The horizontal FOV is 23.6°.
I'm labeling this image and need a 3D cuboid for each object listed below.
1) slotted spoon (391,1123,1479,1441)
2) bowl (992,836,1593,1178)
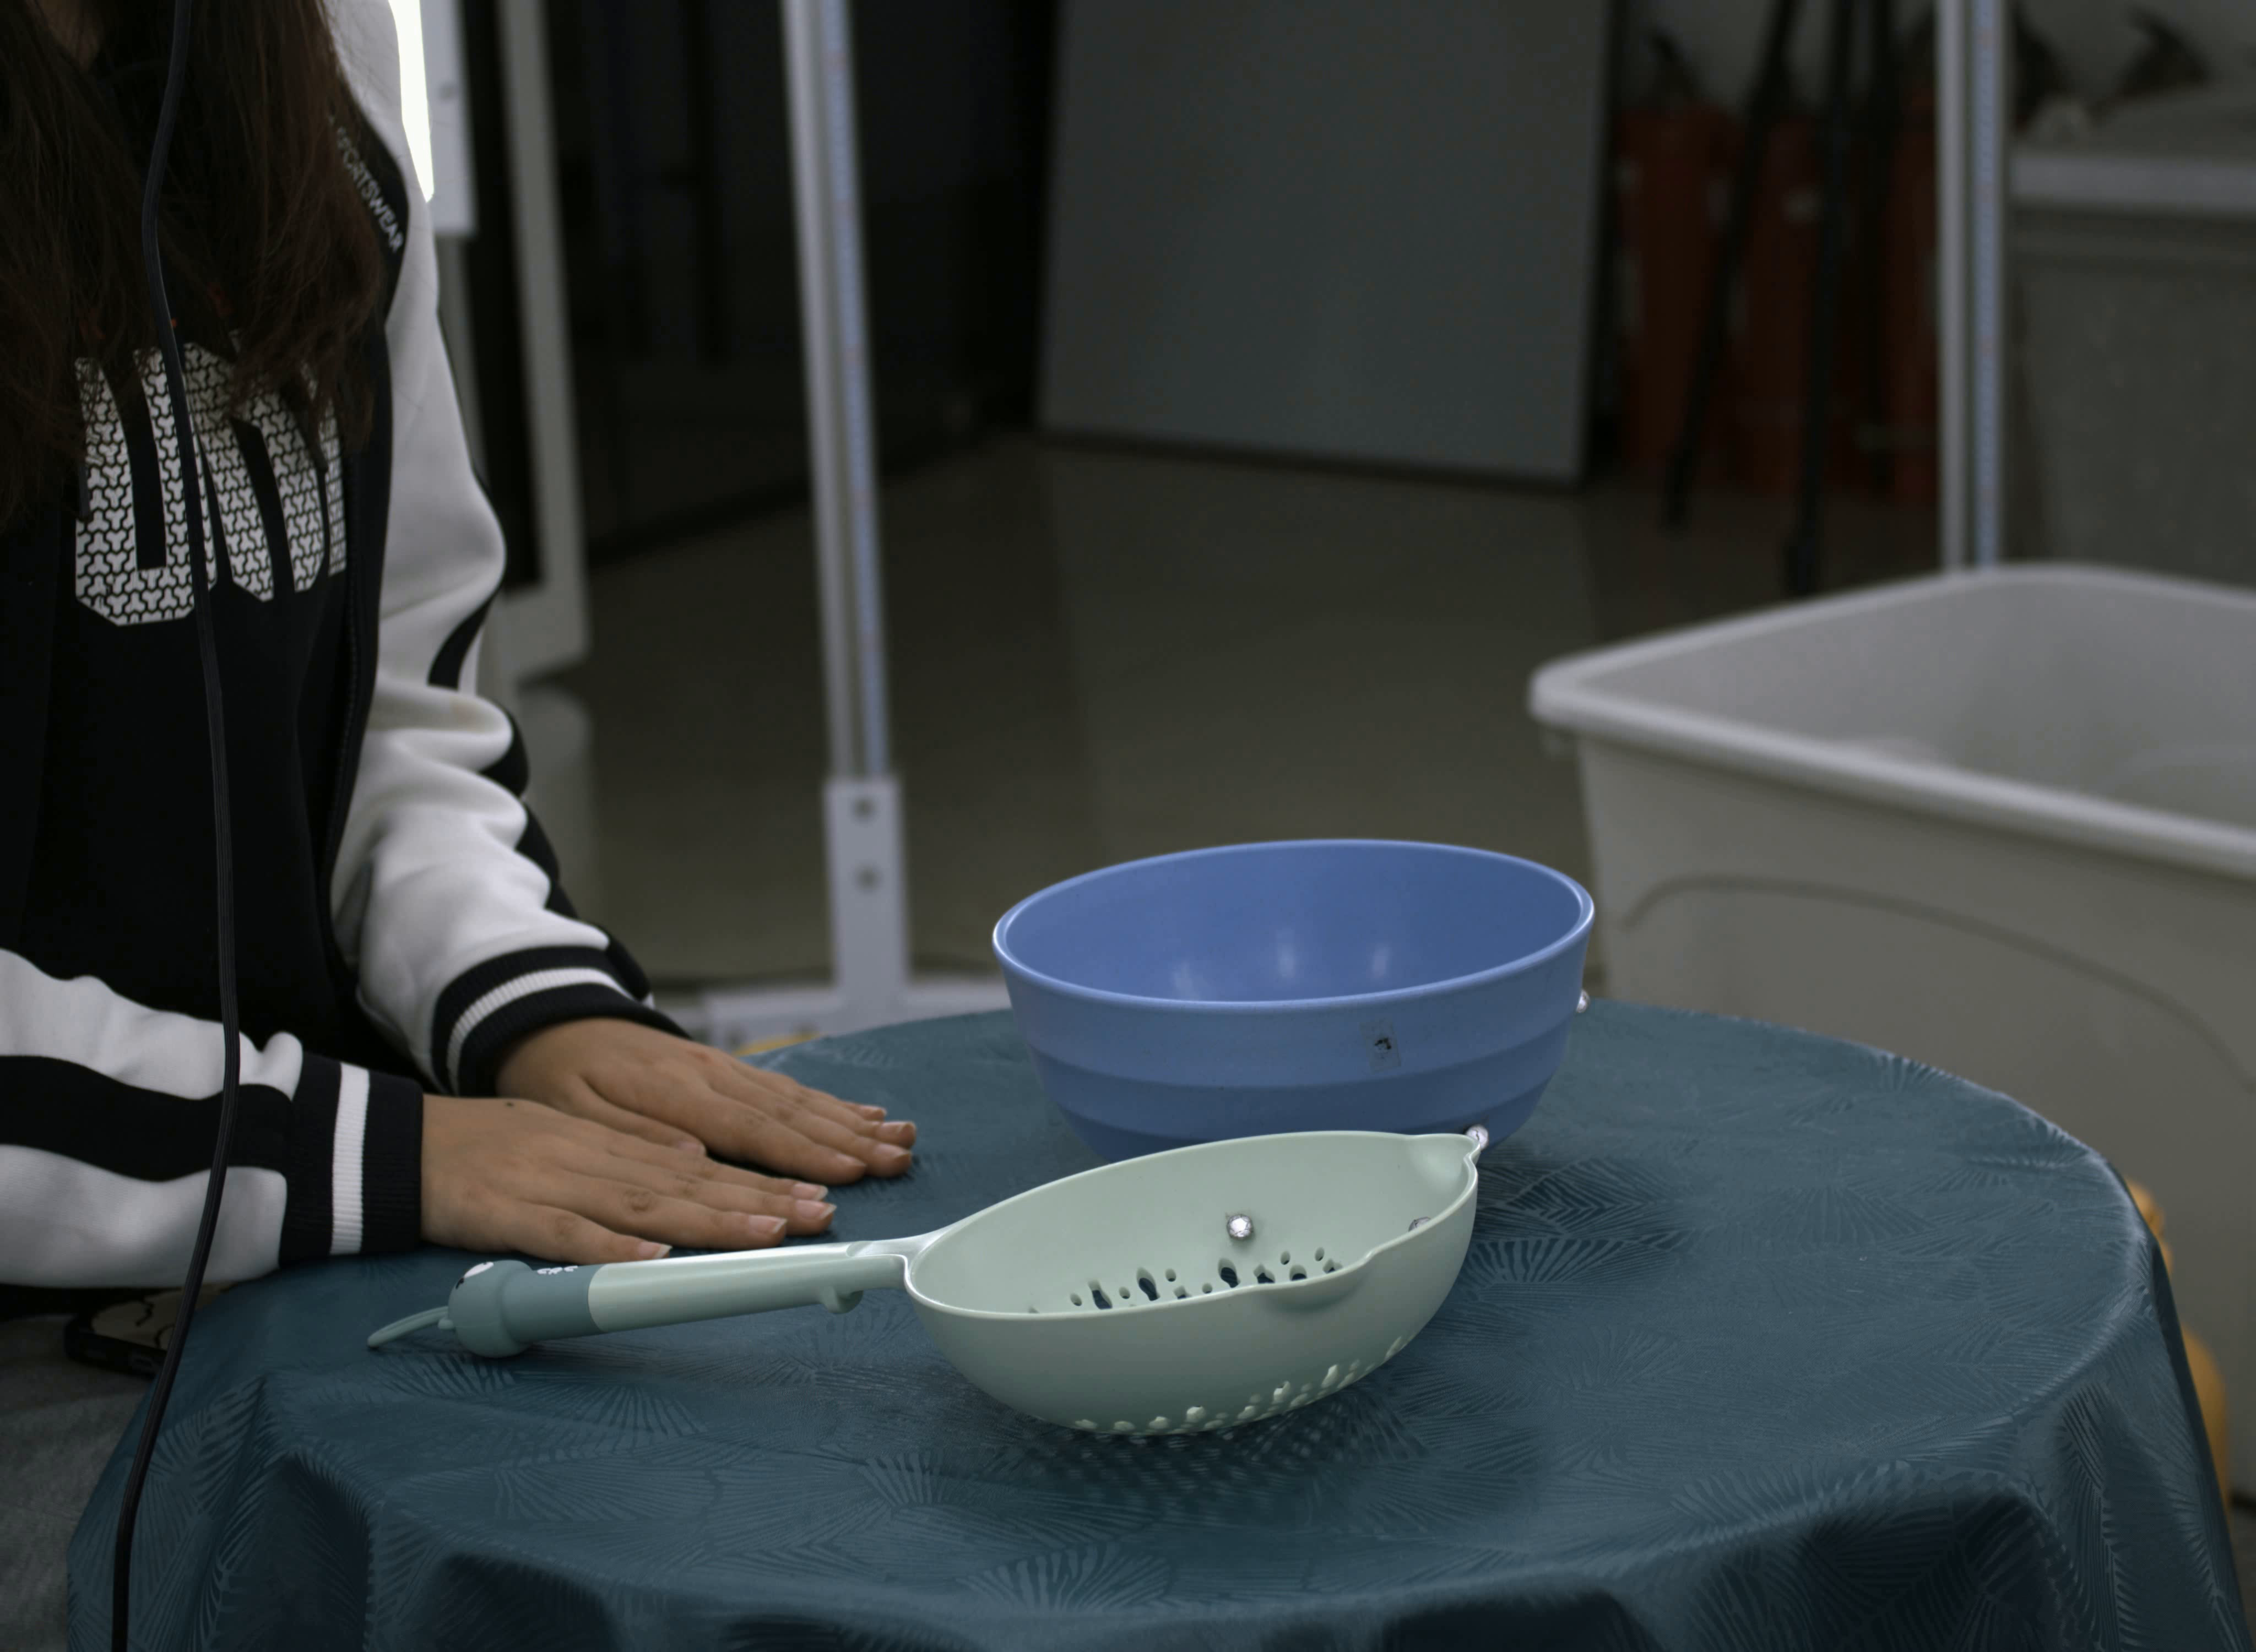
[{"bbox_3d":[-0.066,0.139,1.598,0.359,0.076,0.167,0,13,24],"label":"slotted spoon"},{"bbox_3d":[0.056,0.074,1.746,0.194,0.096,0.197,-5,14,0],"label":"bowl"}]
